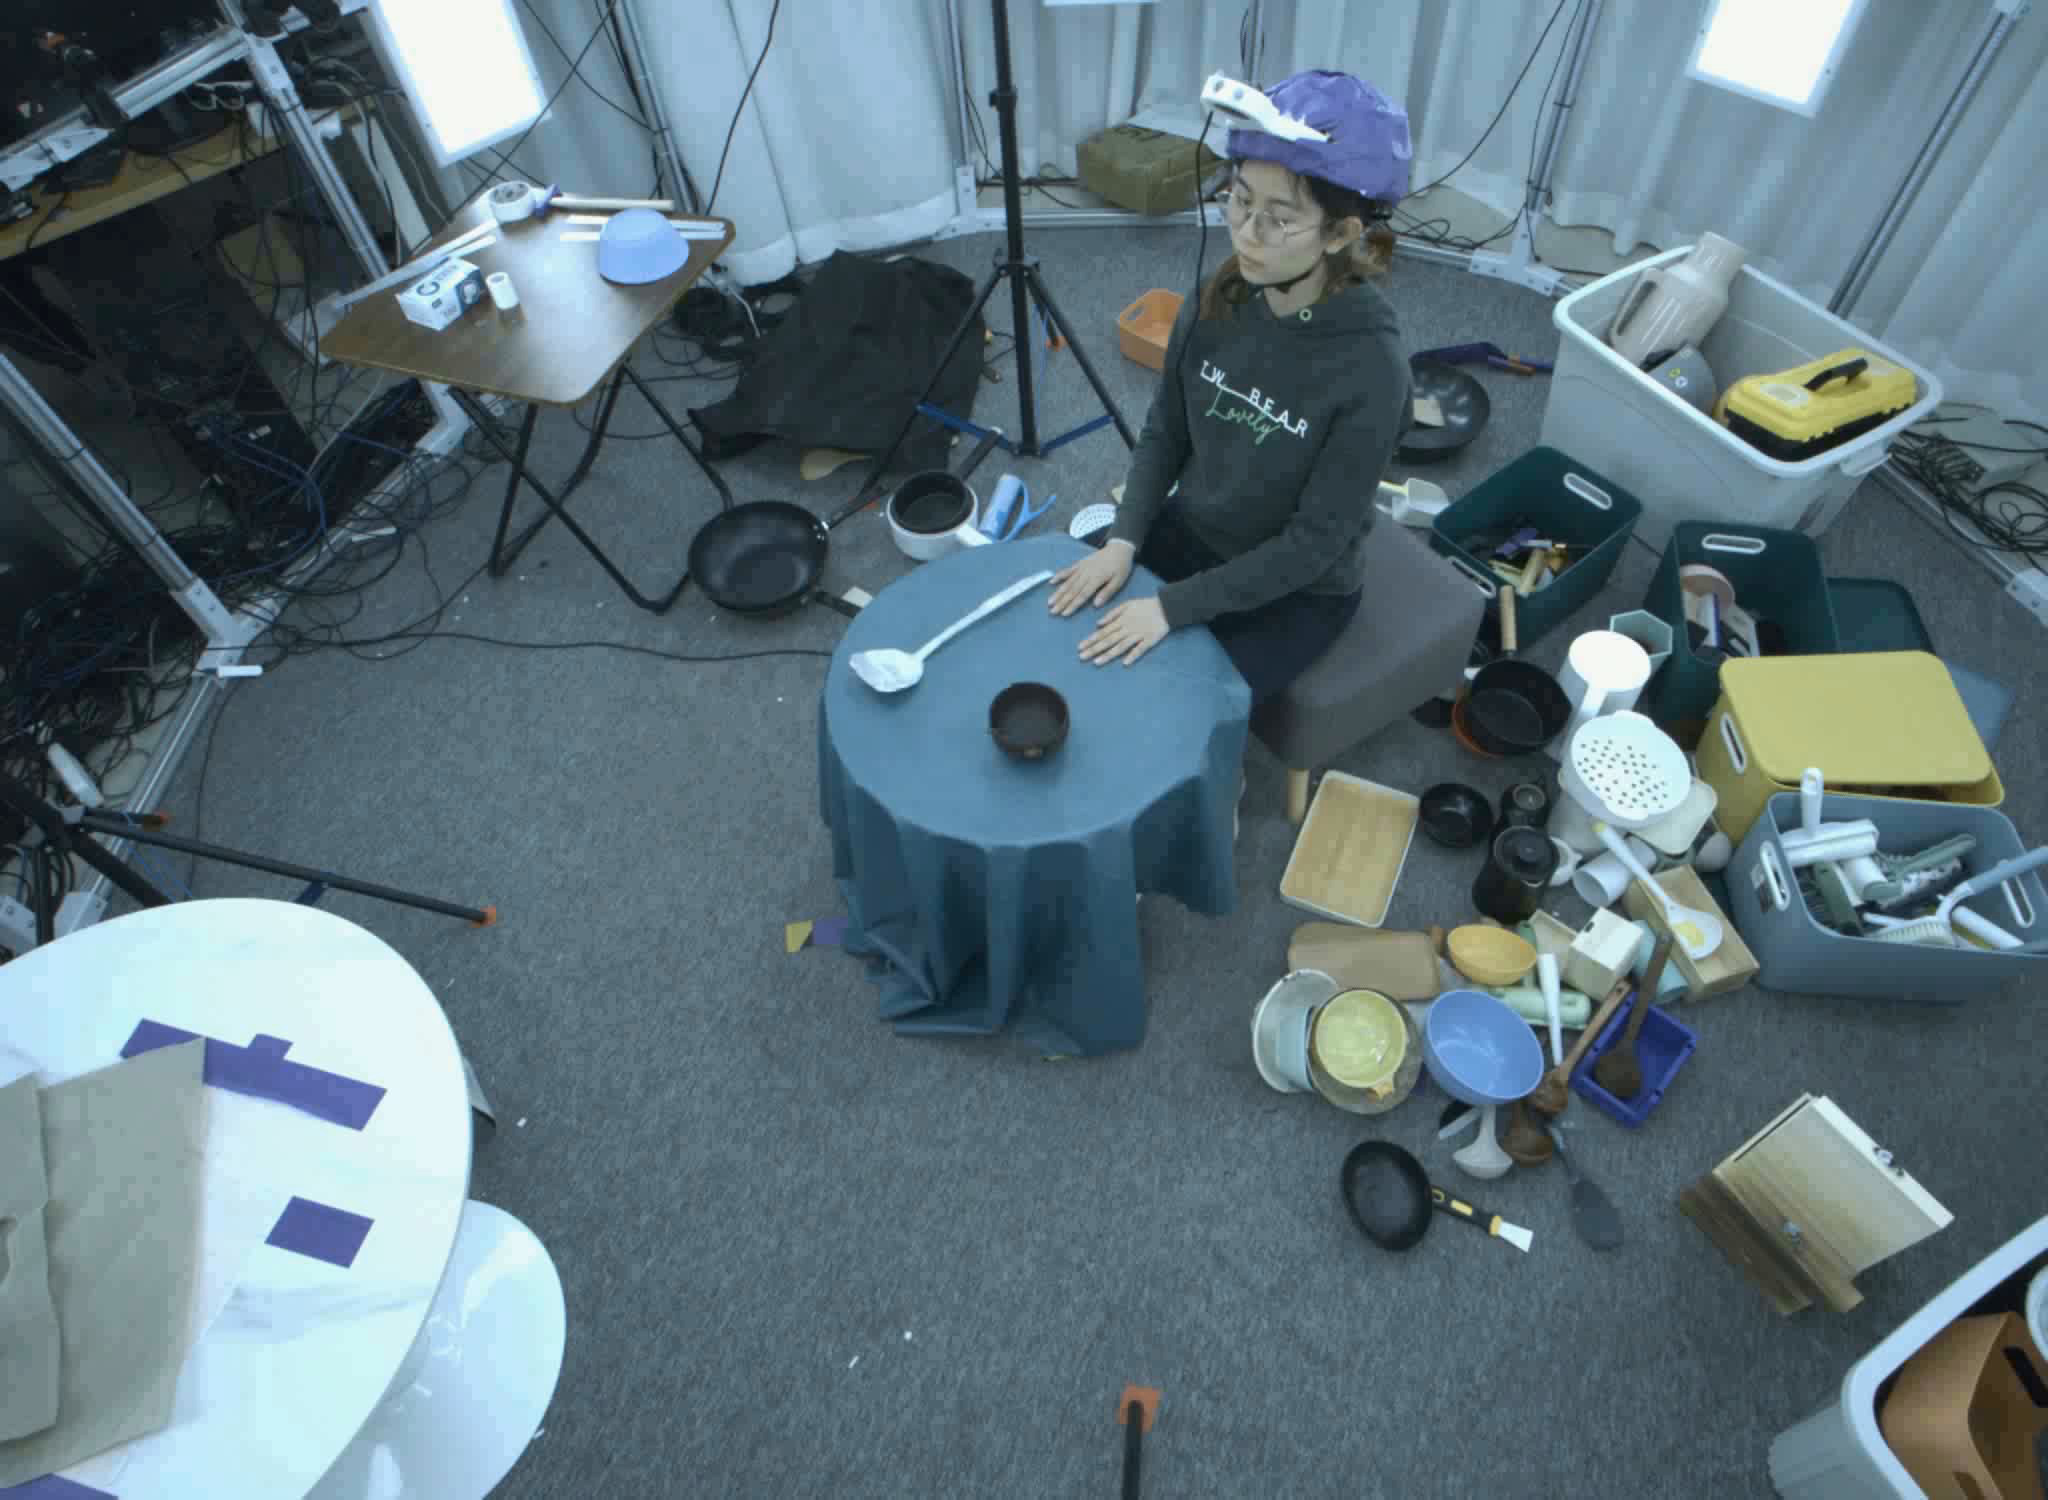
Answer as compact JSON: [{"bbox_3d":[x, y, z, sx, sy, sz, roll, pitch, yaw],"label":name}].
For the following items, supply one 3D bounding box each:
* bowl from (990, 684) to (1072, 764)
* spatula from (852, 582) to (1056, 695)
[{"bbox_3d":[0.011,-0.029,1.774,0.118,0.070,0.117,1,56,0],"label":"bowl"},{"bbox_3d":[-0.099,-0.188,1.909,0.368,0.045,0.097,-34,59,-20],"label":"spatula"}]
